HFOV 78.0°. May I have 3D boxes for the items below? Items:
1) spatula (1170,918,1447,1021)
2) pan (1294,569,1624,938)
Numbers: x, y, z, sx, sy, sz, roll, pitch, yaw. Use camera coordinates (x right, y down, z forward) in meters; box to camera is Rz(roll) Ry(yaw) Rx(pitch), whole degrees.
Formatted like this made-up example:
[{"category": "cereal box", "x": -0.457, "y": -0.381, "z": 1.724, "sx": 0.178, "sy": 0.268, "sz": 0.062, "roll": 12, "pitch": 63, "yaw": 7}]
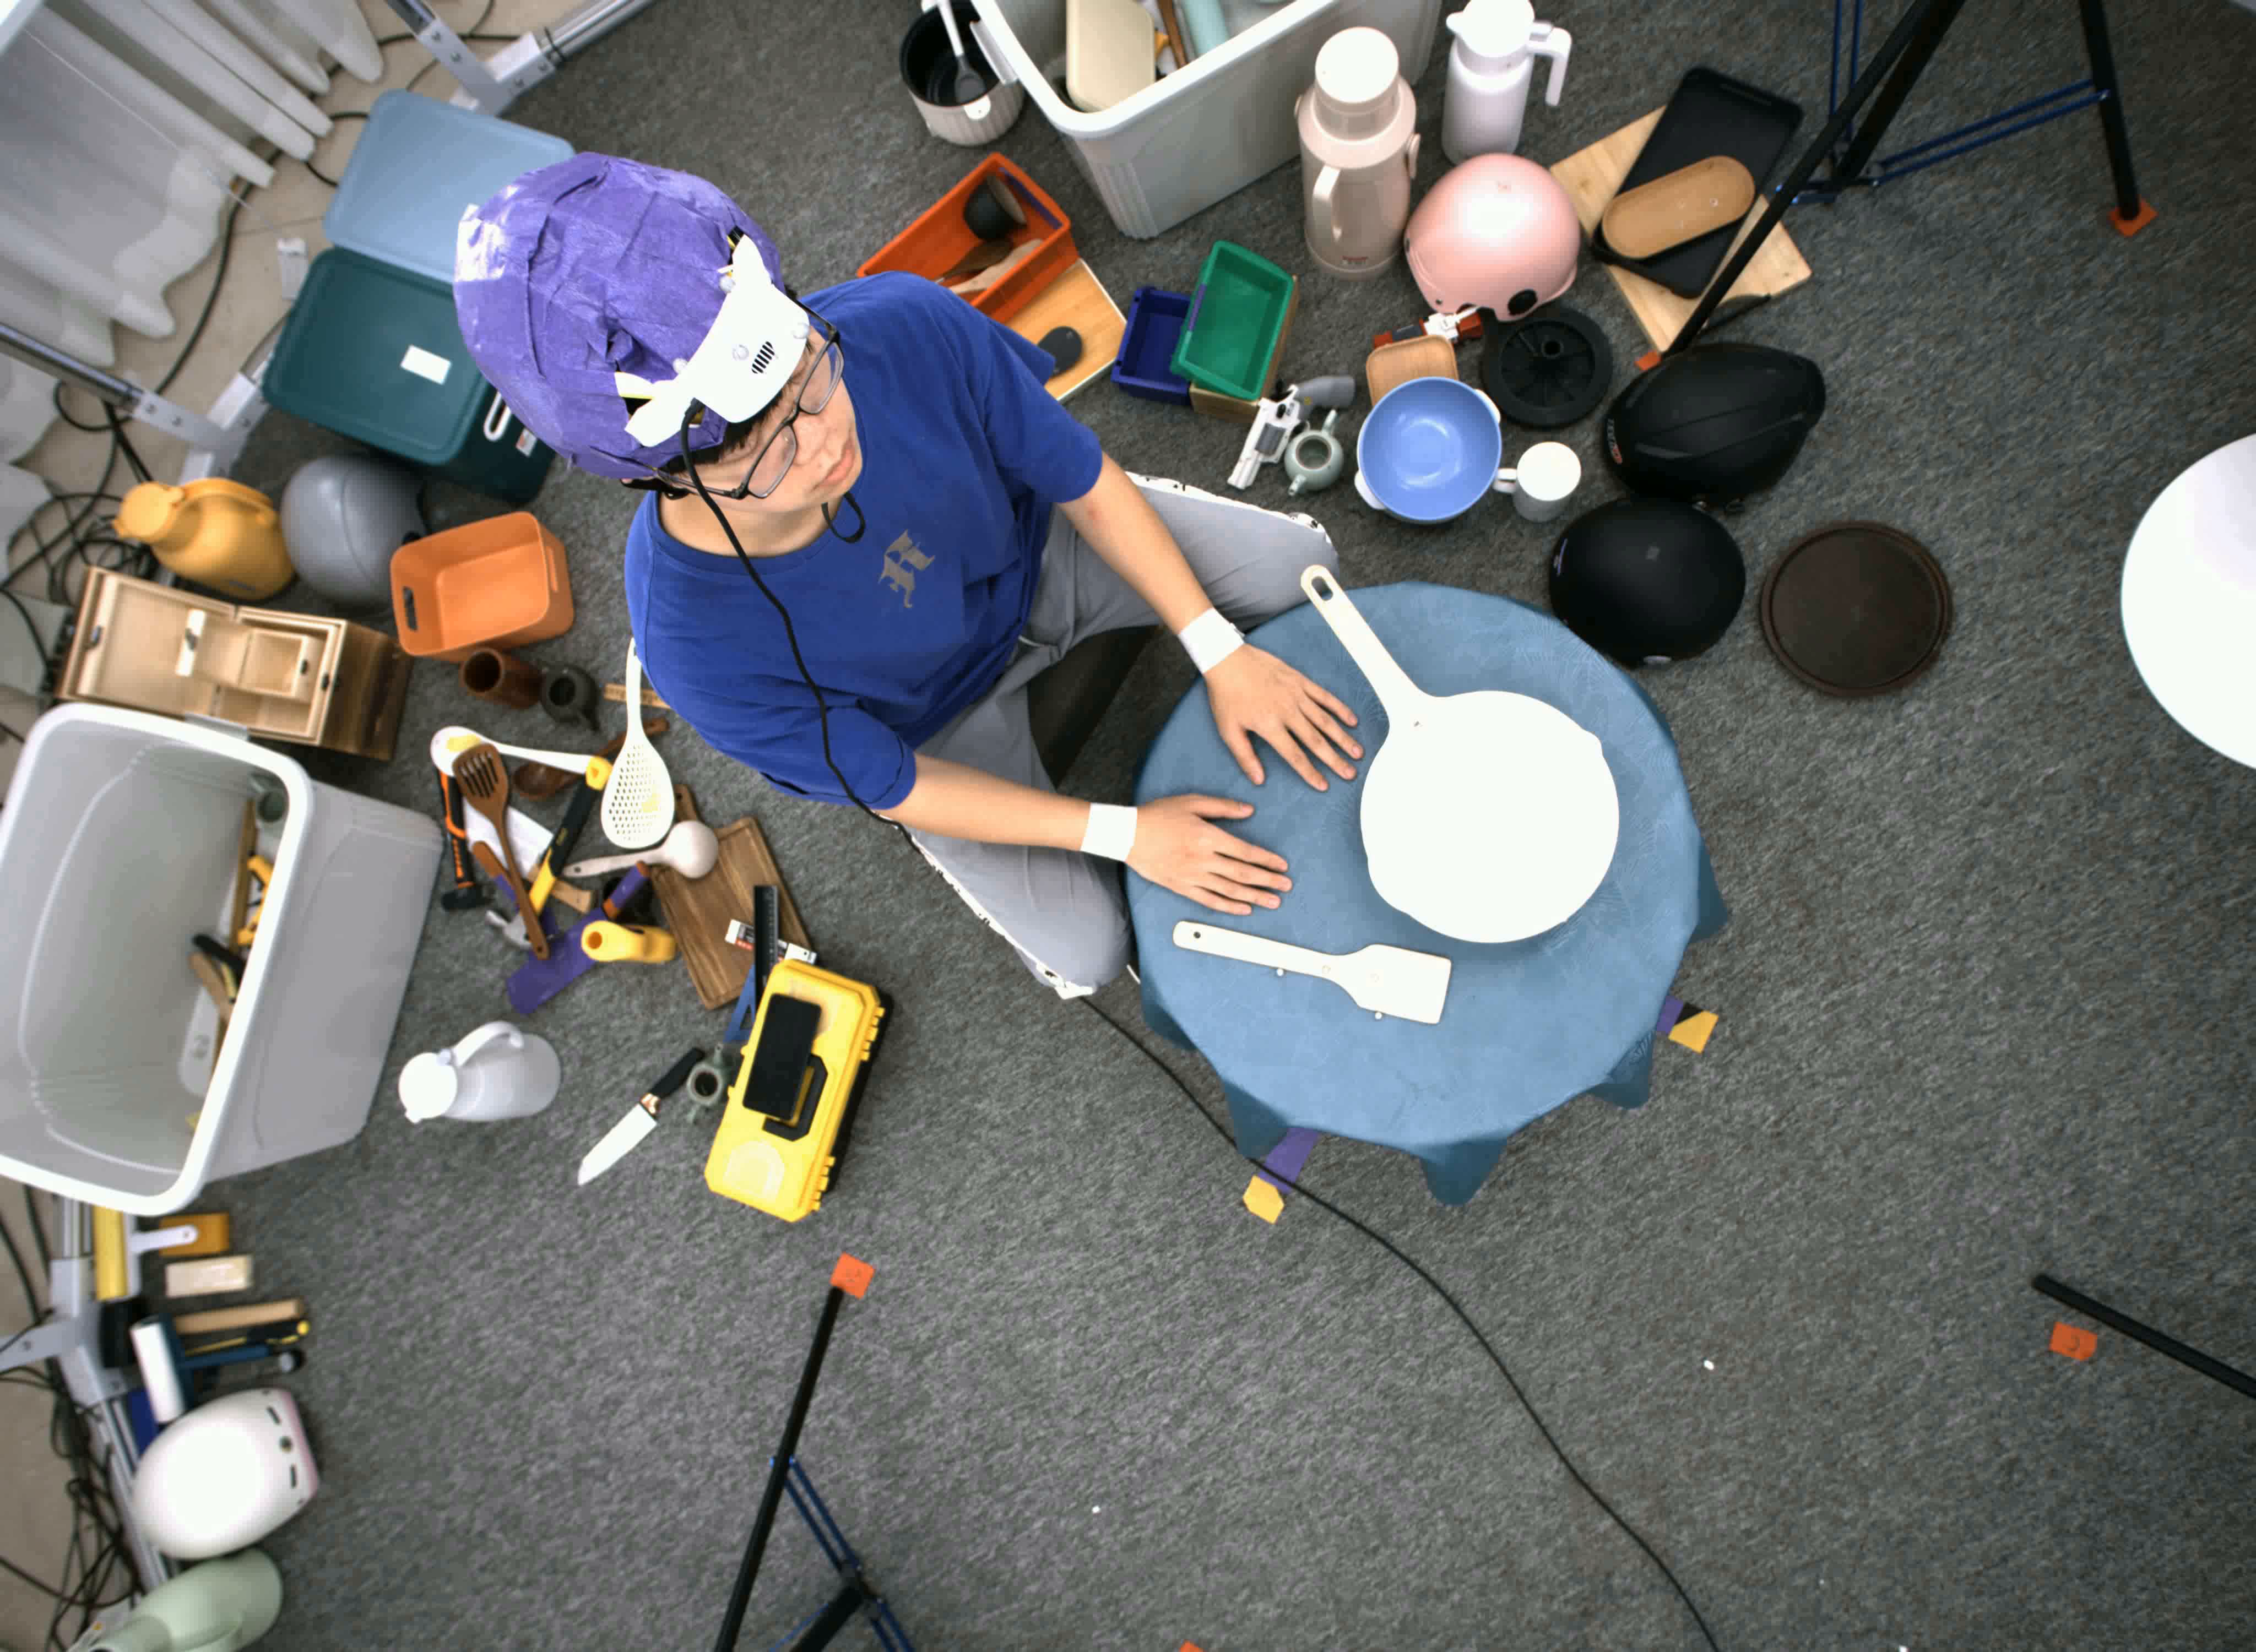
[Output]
[{"category": "spatula", "x": 0.186, "y": 0.141, "z": 1.466, "sx": 0.293, "sy": 0.010, "sz": 0.072, "roll": 12, "pitch": 90, "yaw": 11}, {"category": "pan", "x": 0.315, "y": -0.086, "z": 1.407, "sx": 0.265, "sy": 0.102, "sz": 0.432, "roll": -37, "pitch": 81, "yaw": 8}]
